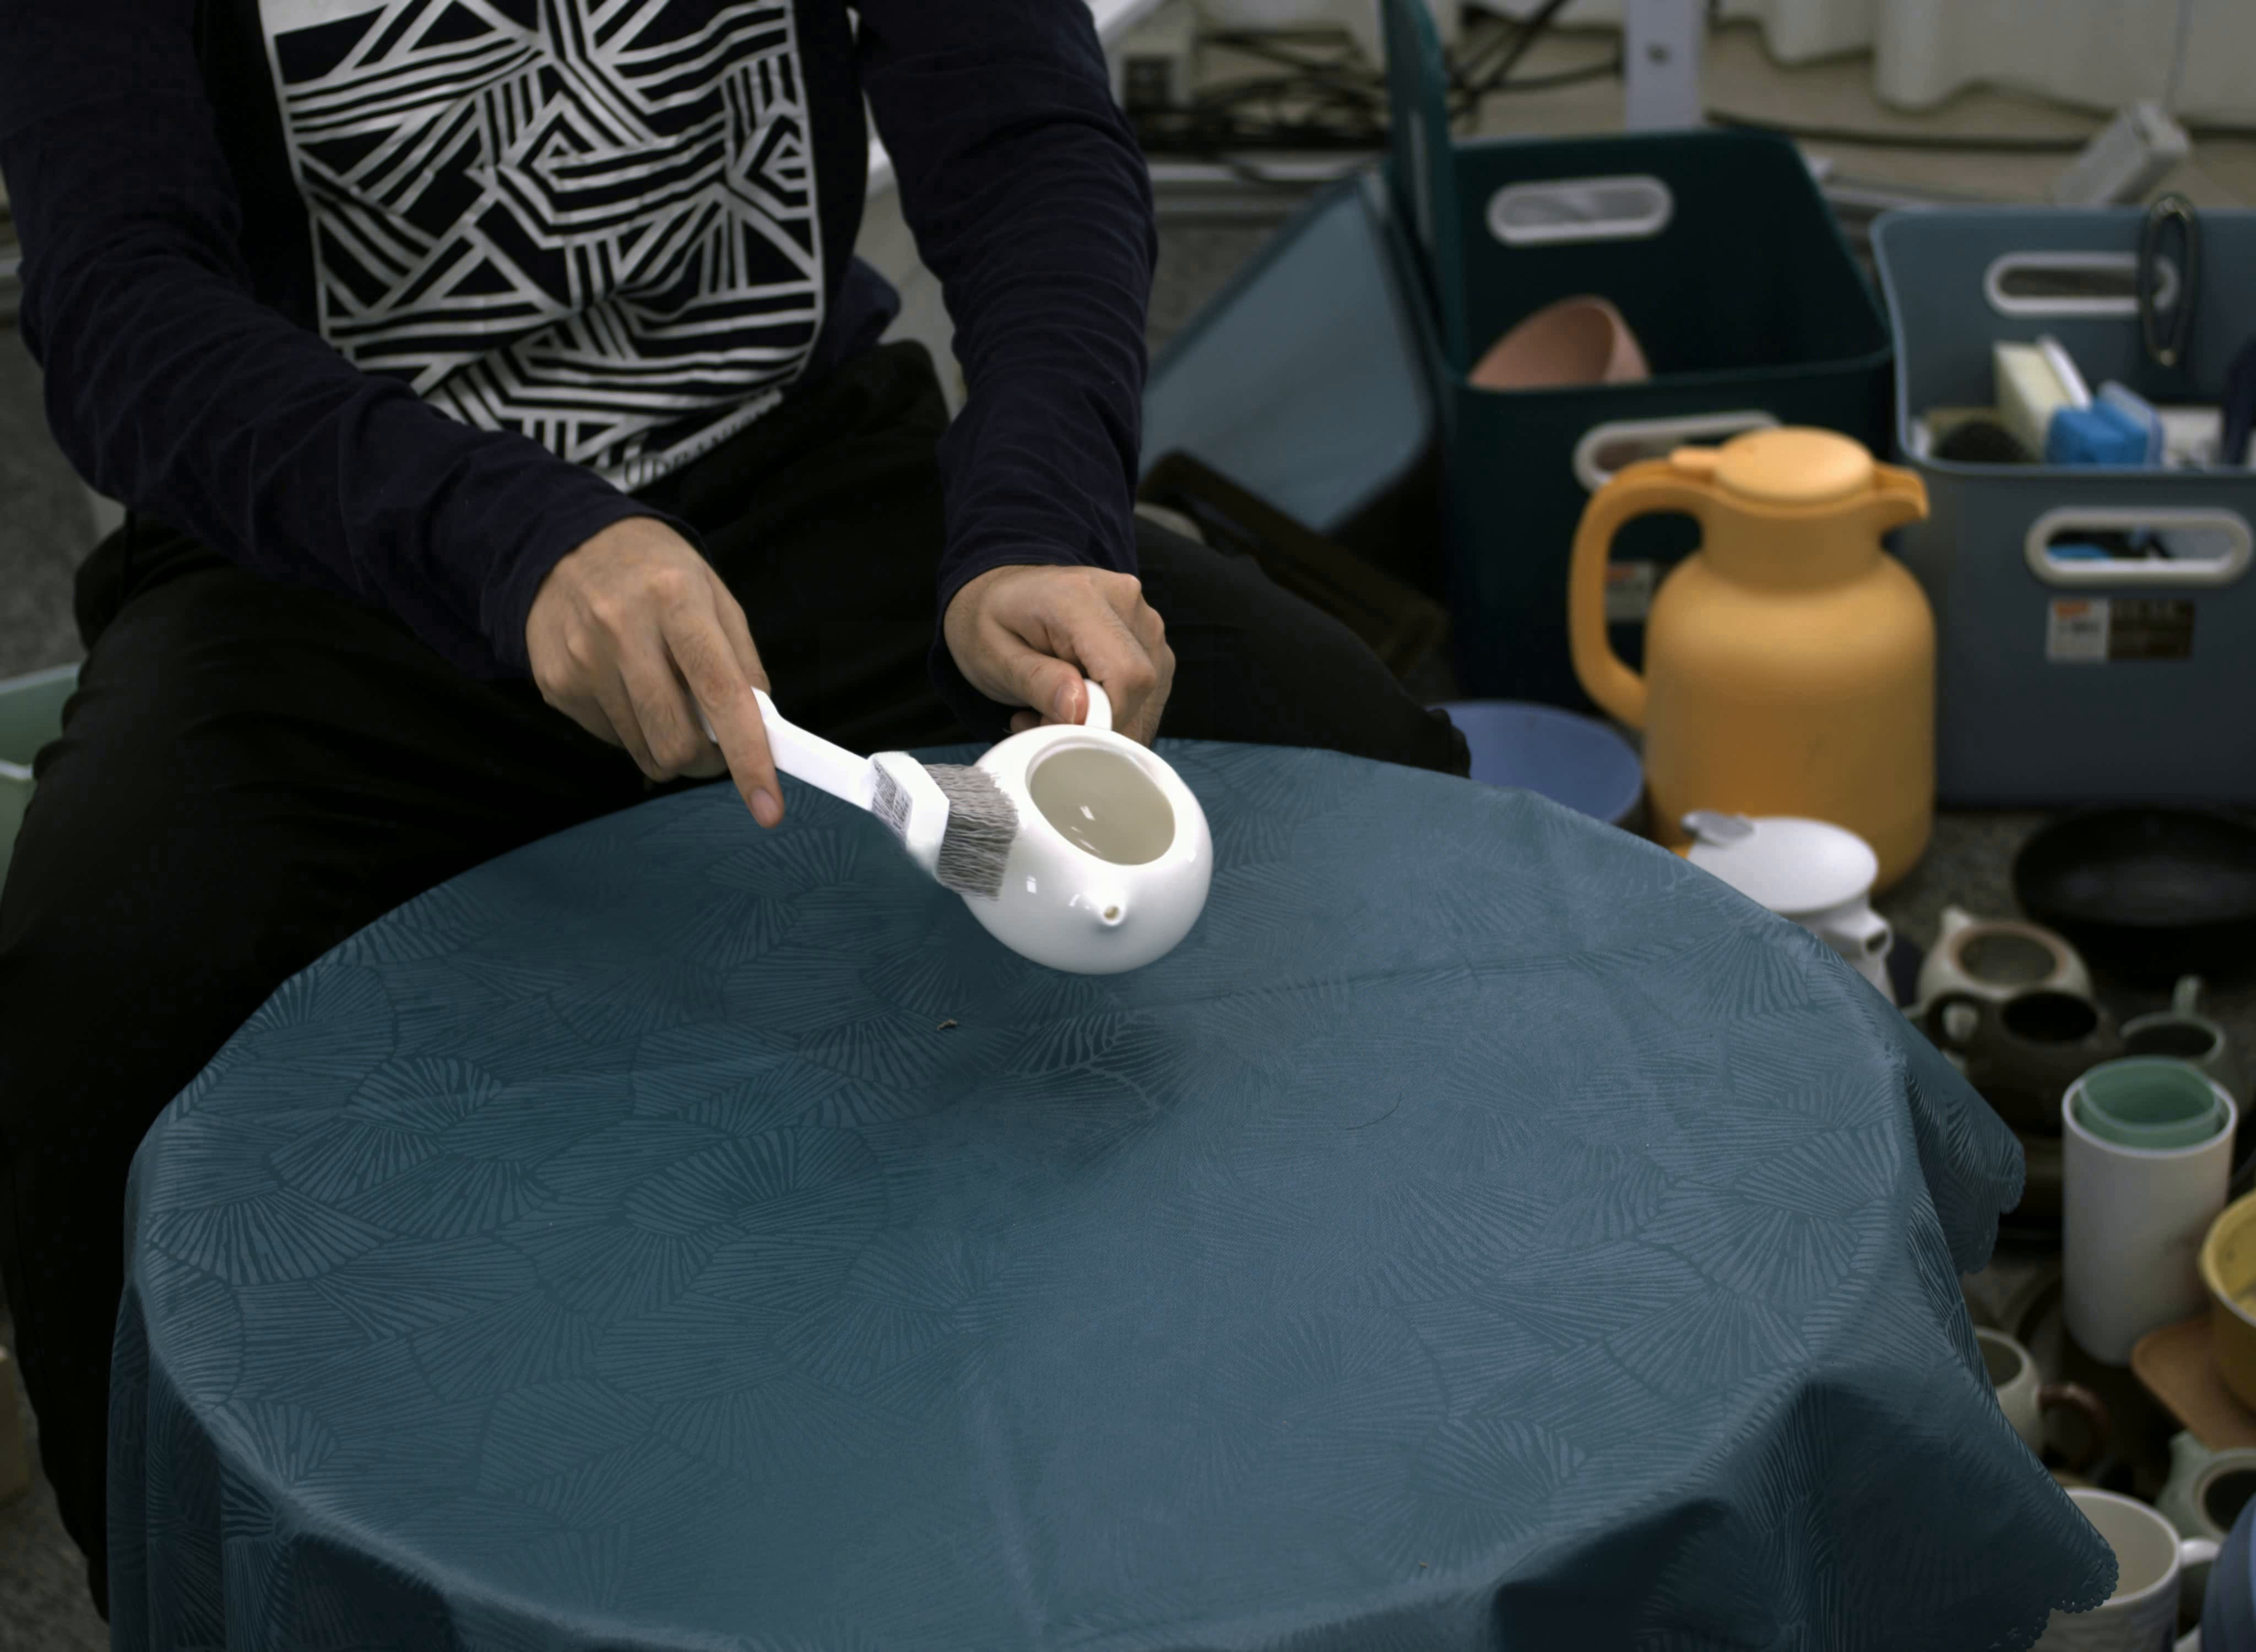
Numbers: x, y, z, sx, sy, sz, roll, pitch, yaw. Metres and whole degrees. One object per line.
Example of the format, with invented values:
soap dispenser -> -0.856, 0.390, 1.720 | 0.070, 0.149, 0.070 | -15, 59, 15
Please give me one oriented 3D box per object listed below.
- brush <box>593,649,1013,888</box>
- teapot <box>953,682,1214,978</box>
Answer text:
brush -> -0.110, -0.023, 1.930 | 0.050, 0.034, 0.243 | -1, 15, -33
teapot -> -0.018, 0.001, 1.924 | 0.093, 0.055, 0.129 | 9, 44, -18
